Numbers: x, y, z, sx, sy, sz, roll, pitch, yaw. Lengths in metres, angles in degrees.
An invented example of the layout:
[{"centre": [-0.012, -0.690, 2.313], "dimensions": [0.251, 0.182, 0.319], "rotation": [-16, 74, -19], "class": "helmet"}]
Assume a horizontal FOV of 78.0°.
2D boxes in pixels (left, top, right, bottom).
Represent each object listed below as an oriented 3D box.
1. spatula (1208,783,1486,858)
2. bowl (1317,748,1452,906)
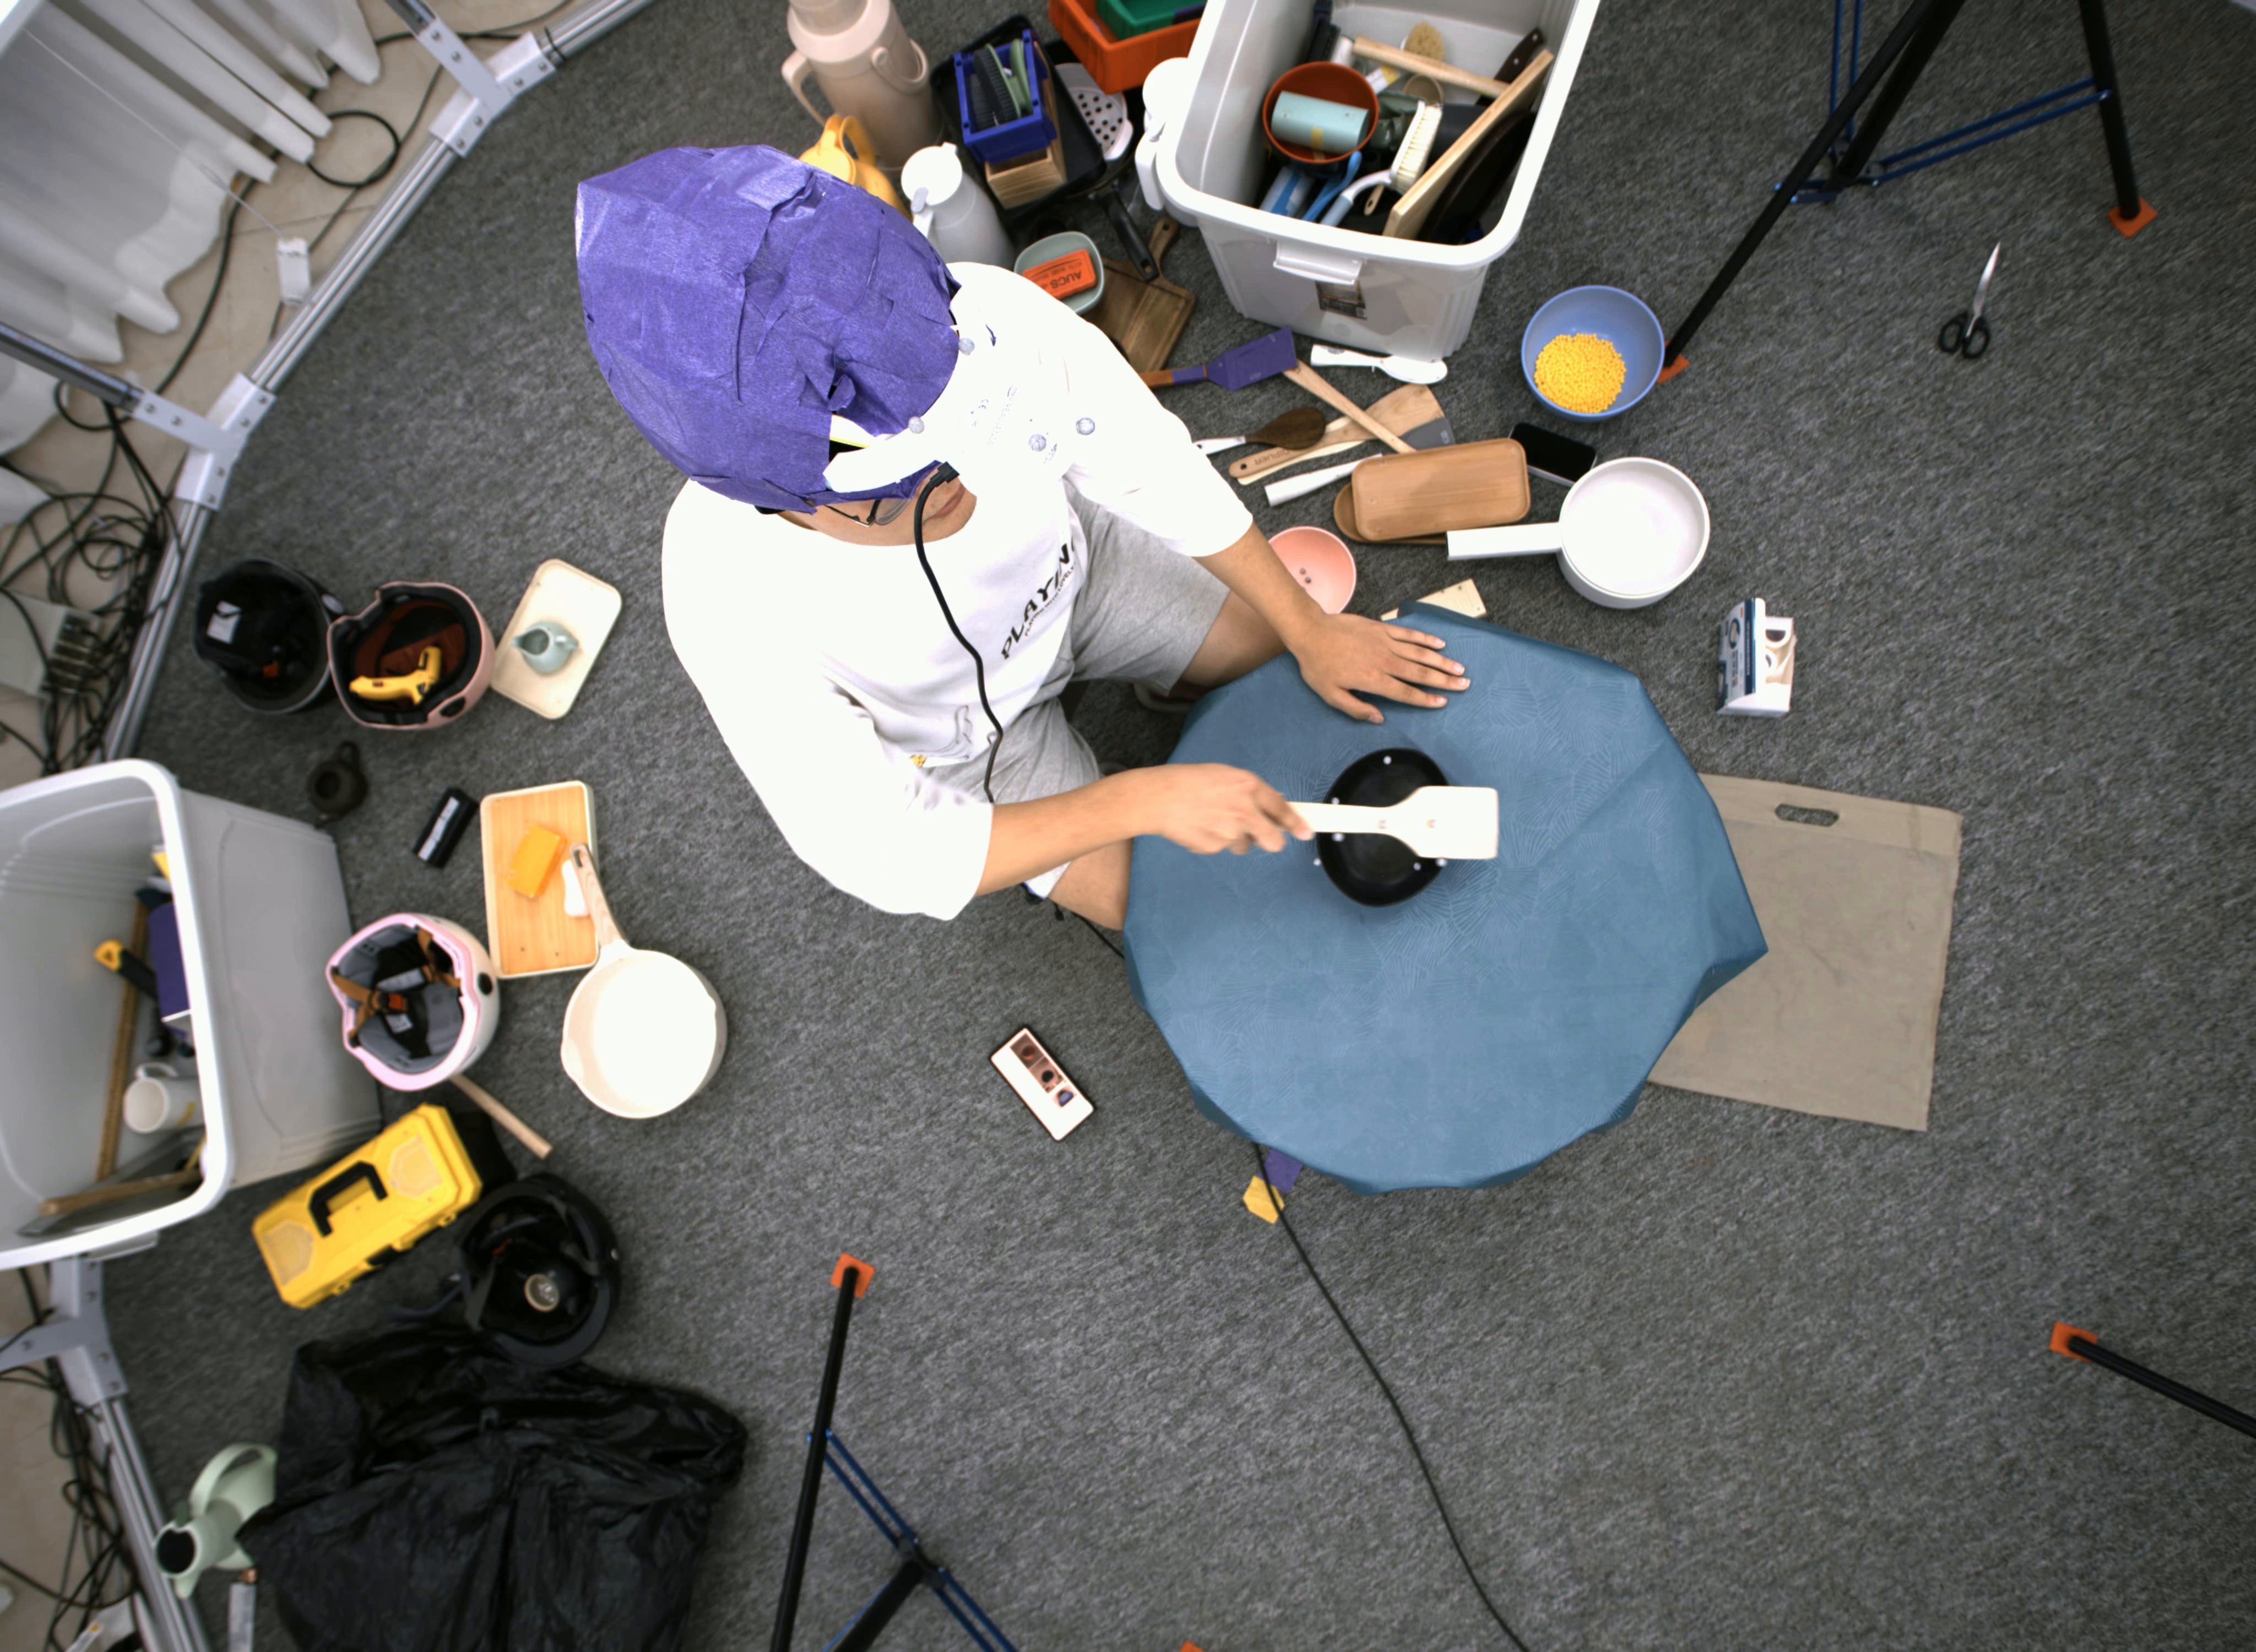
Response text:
[{"centre": [0.210, -0.008, 1.300], "dimensions": [0.292, 0.011, 0.072], "rotation": [1, 91, -19], "class": "spatula"}, {"centre": [0.268, 0.001, 1.433], "dimensions": [0.137, 0.067, 0.170], "rotation": [18, 88, 11], "class": "bowl"}]
